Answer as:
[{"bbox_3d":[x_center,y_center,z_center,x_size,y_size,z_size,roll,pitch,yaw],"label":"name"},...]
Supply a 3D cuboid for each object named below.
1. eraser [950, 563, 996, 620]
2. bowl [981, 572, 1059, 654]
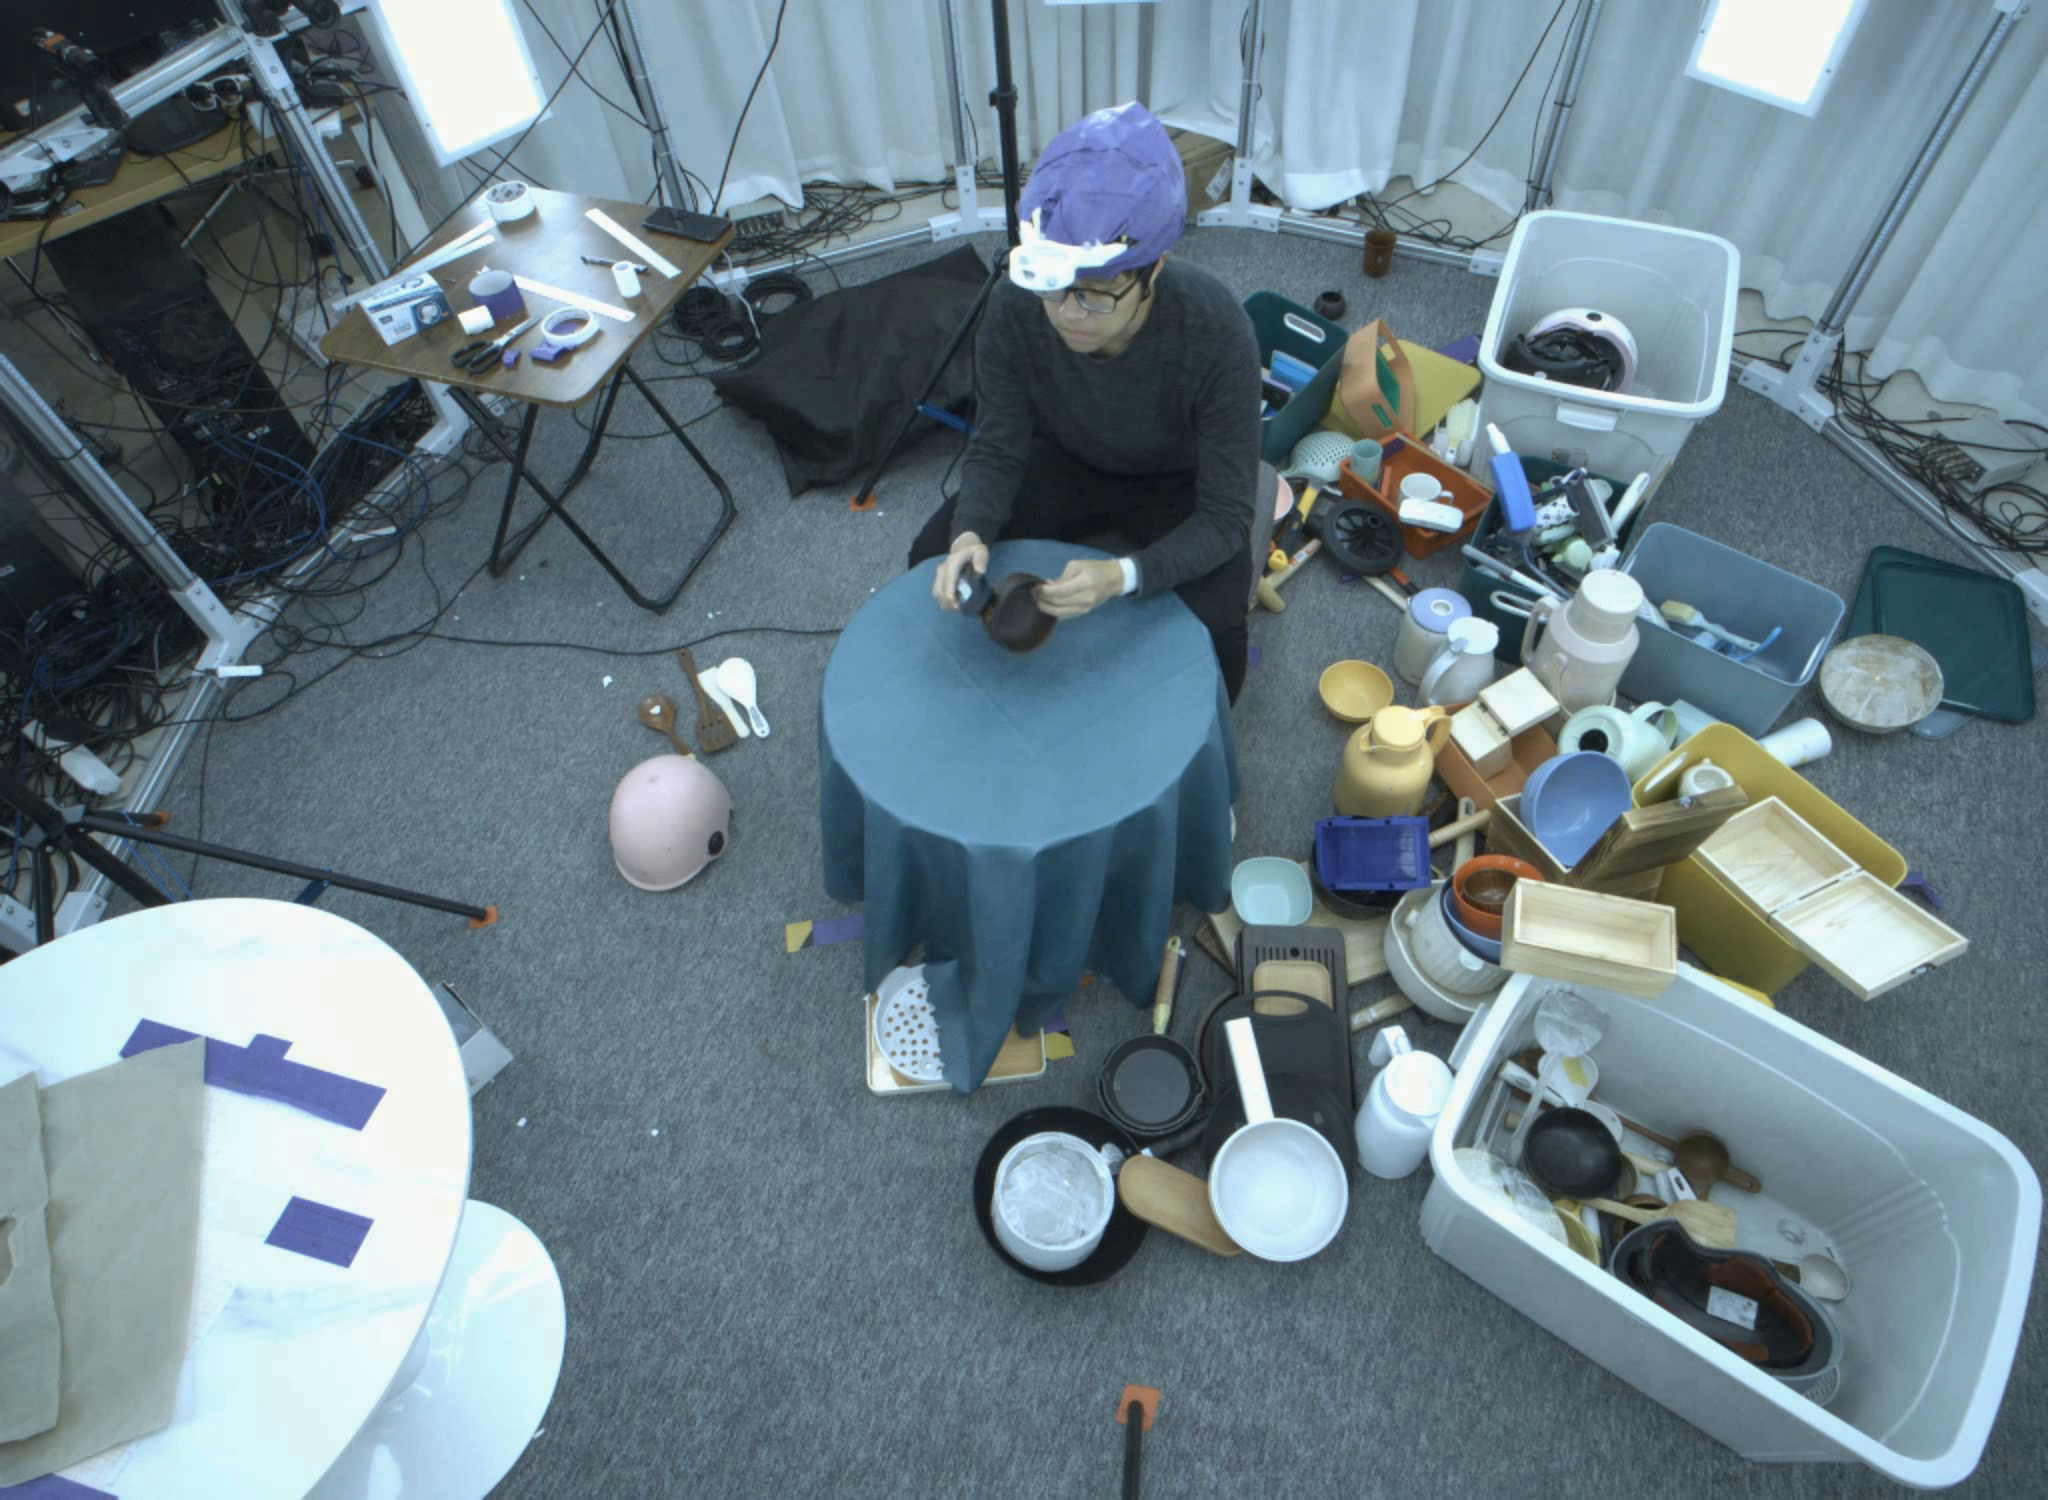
[{"bbox_3d":[-0.076,-0.232,1.789,0.053,0.031,0.123,-54,23,12],"label":"eraser"},{"bbox_3d":[-0.014,-0.205,1.803,0.119,0.120,0.068,-38,43,-21],"label":"bowl"}]
